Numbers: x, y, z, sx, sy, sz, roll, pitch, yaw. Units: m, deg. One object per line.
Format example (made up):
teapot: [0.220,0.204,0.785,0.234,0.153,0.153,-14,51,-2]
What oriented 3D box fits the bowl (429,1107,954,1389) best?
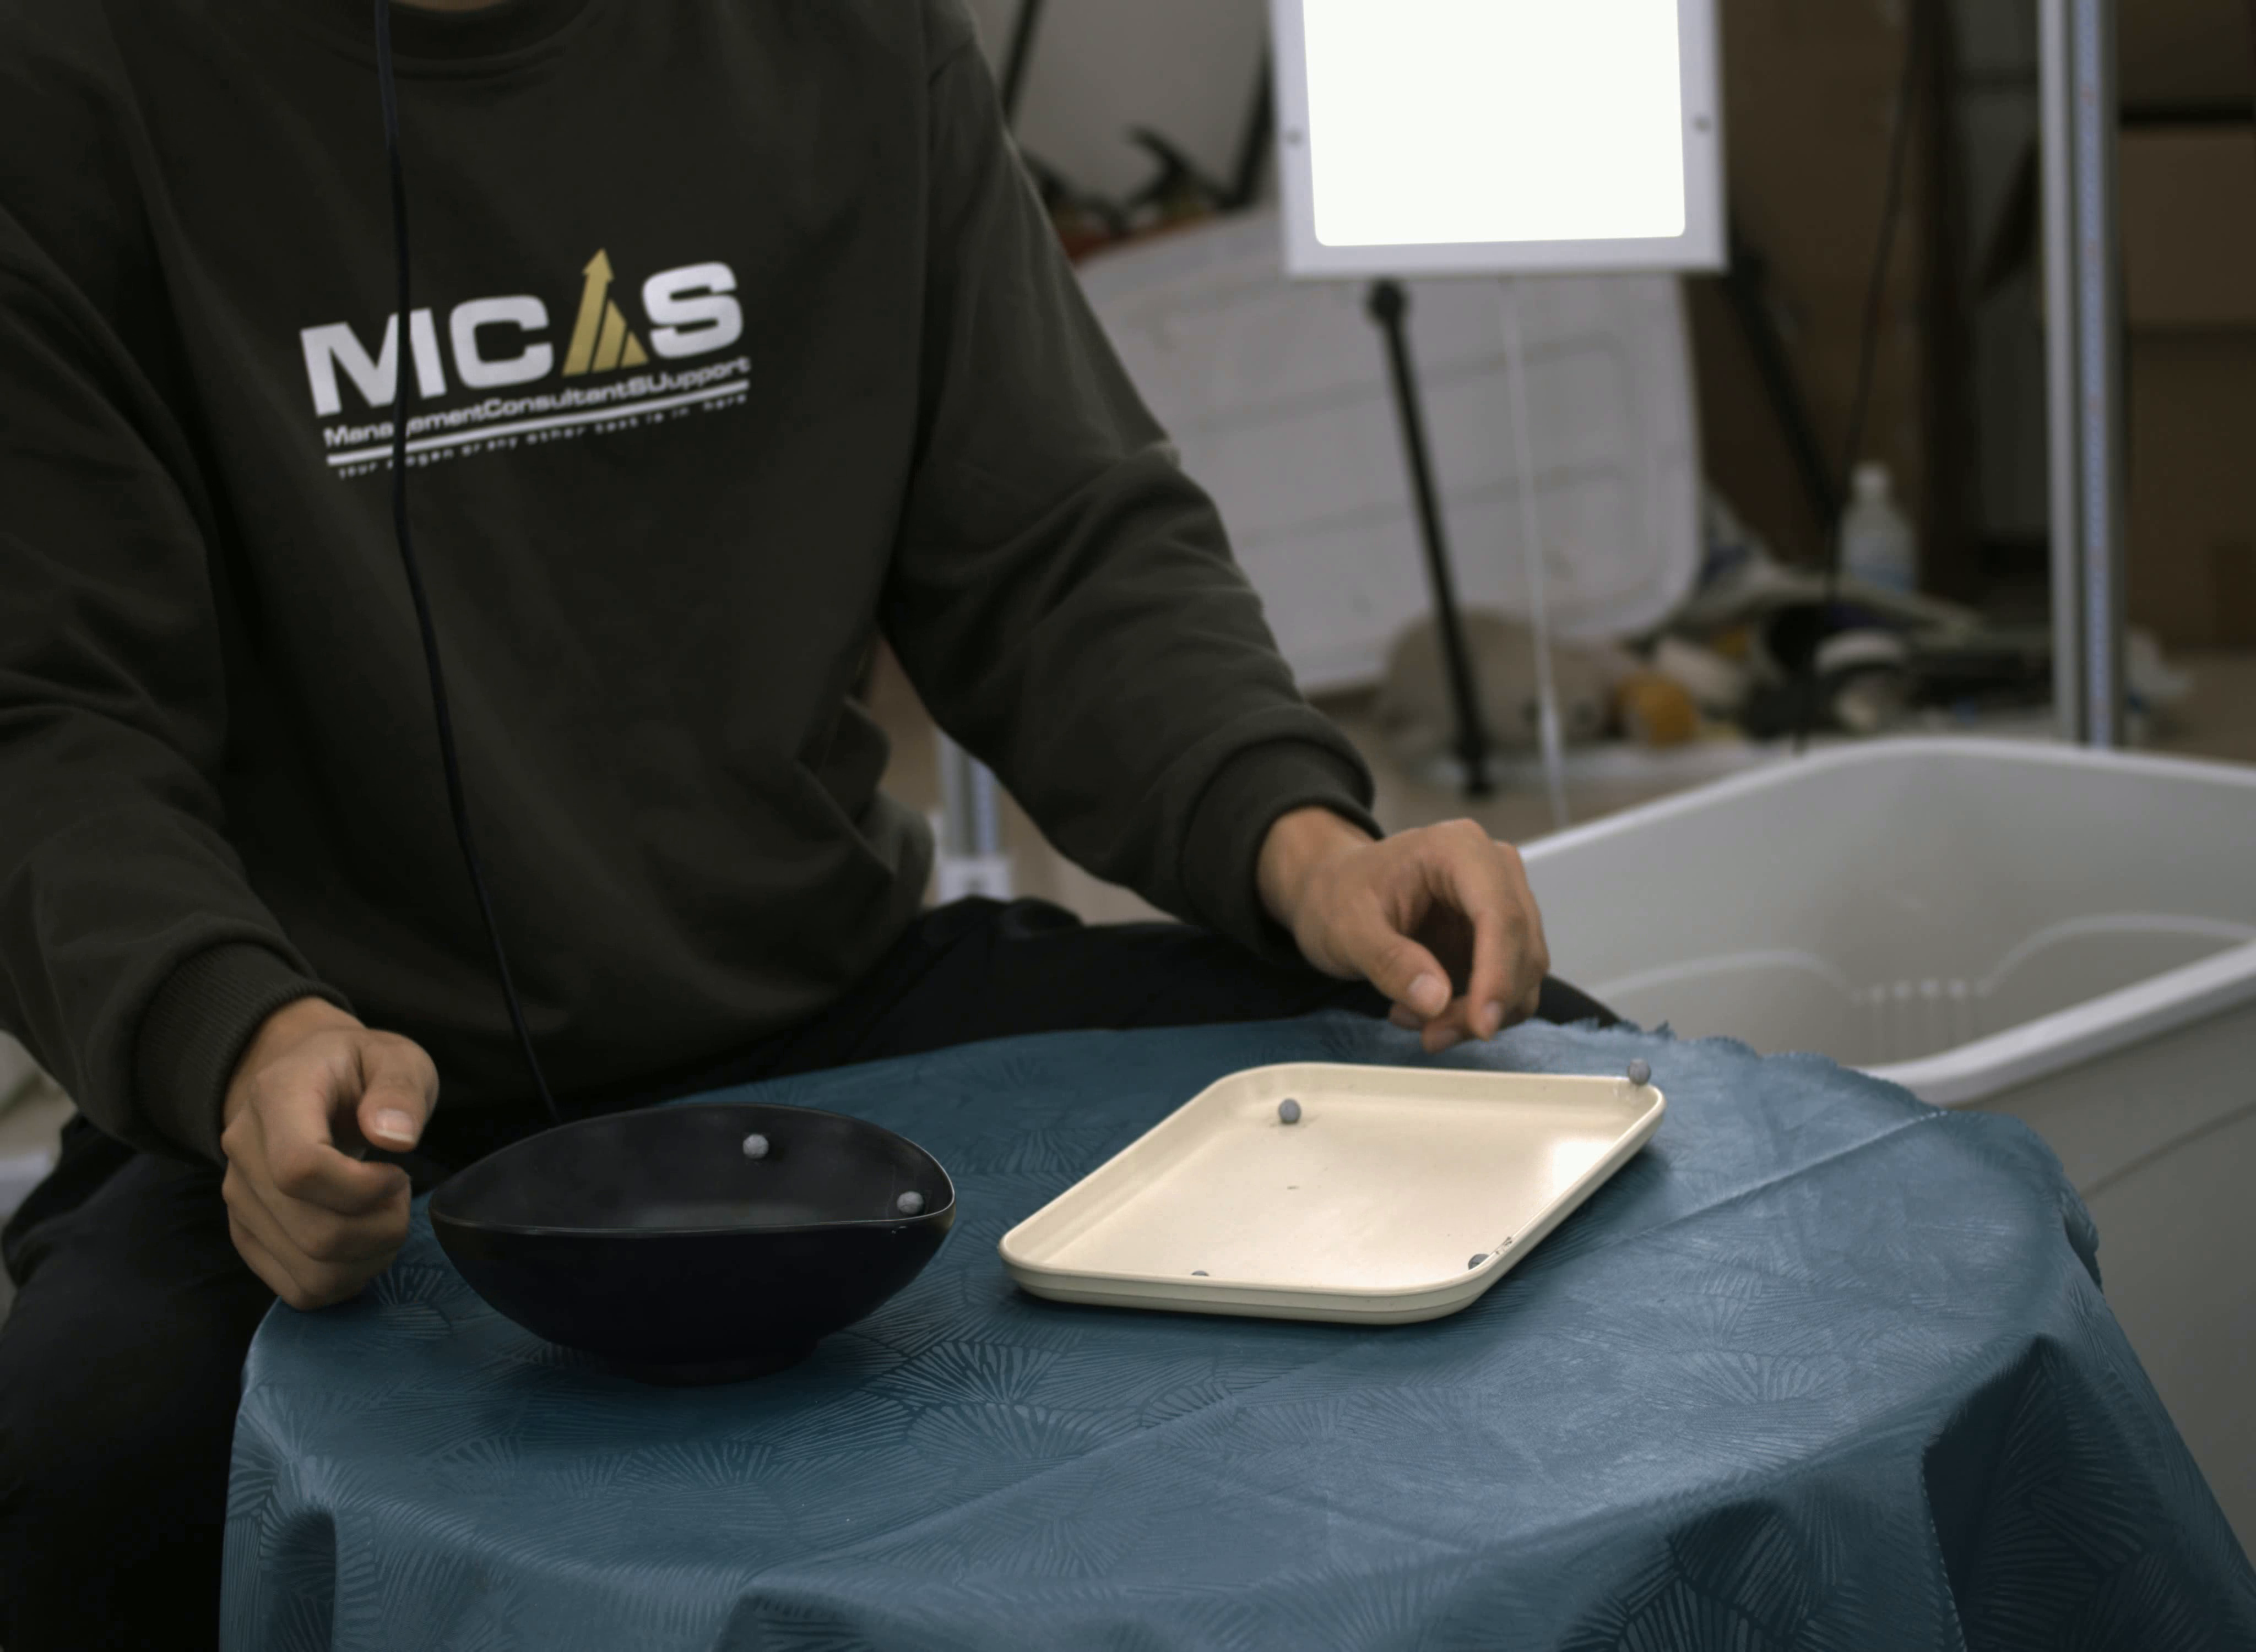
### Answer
bowl: [-0.137,0.139,1.765,0.171,0.067,0.136,-1,15,10]

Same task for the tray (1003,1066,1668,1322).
tray: [0.074,0.123,1.852,0.174,0.017,0.235,0,14,25]
